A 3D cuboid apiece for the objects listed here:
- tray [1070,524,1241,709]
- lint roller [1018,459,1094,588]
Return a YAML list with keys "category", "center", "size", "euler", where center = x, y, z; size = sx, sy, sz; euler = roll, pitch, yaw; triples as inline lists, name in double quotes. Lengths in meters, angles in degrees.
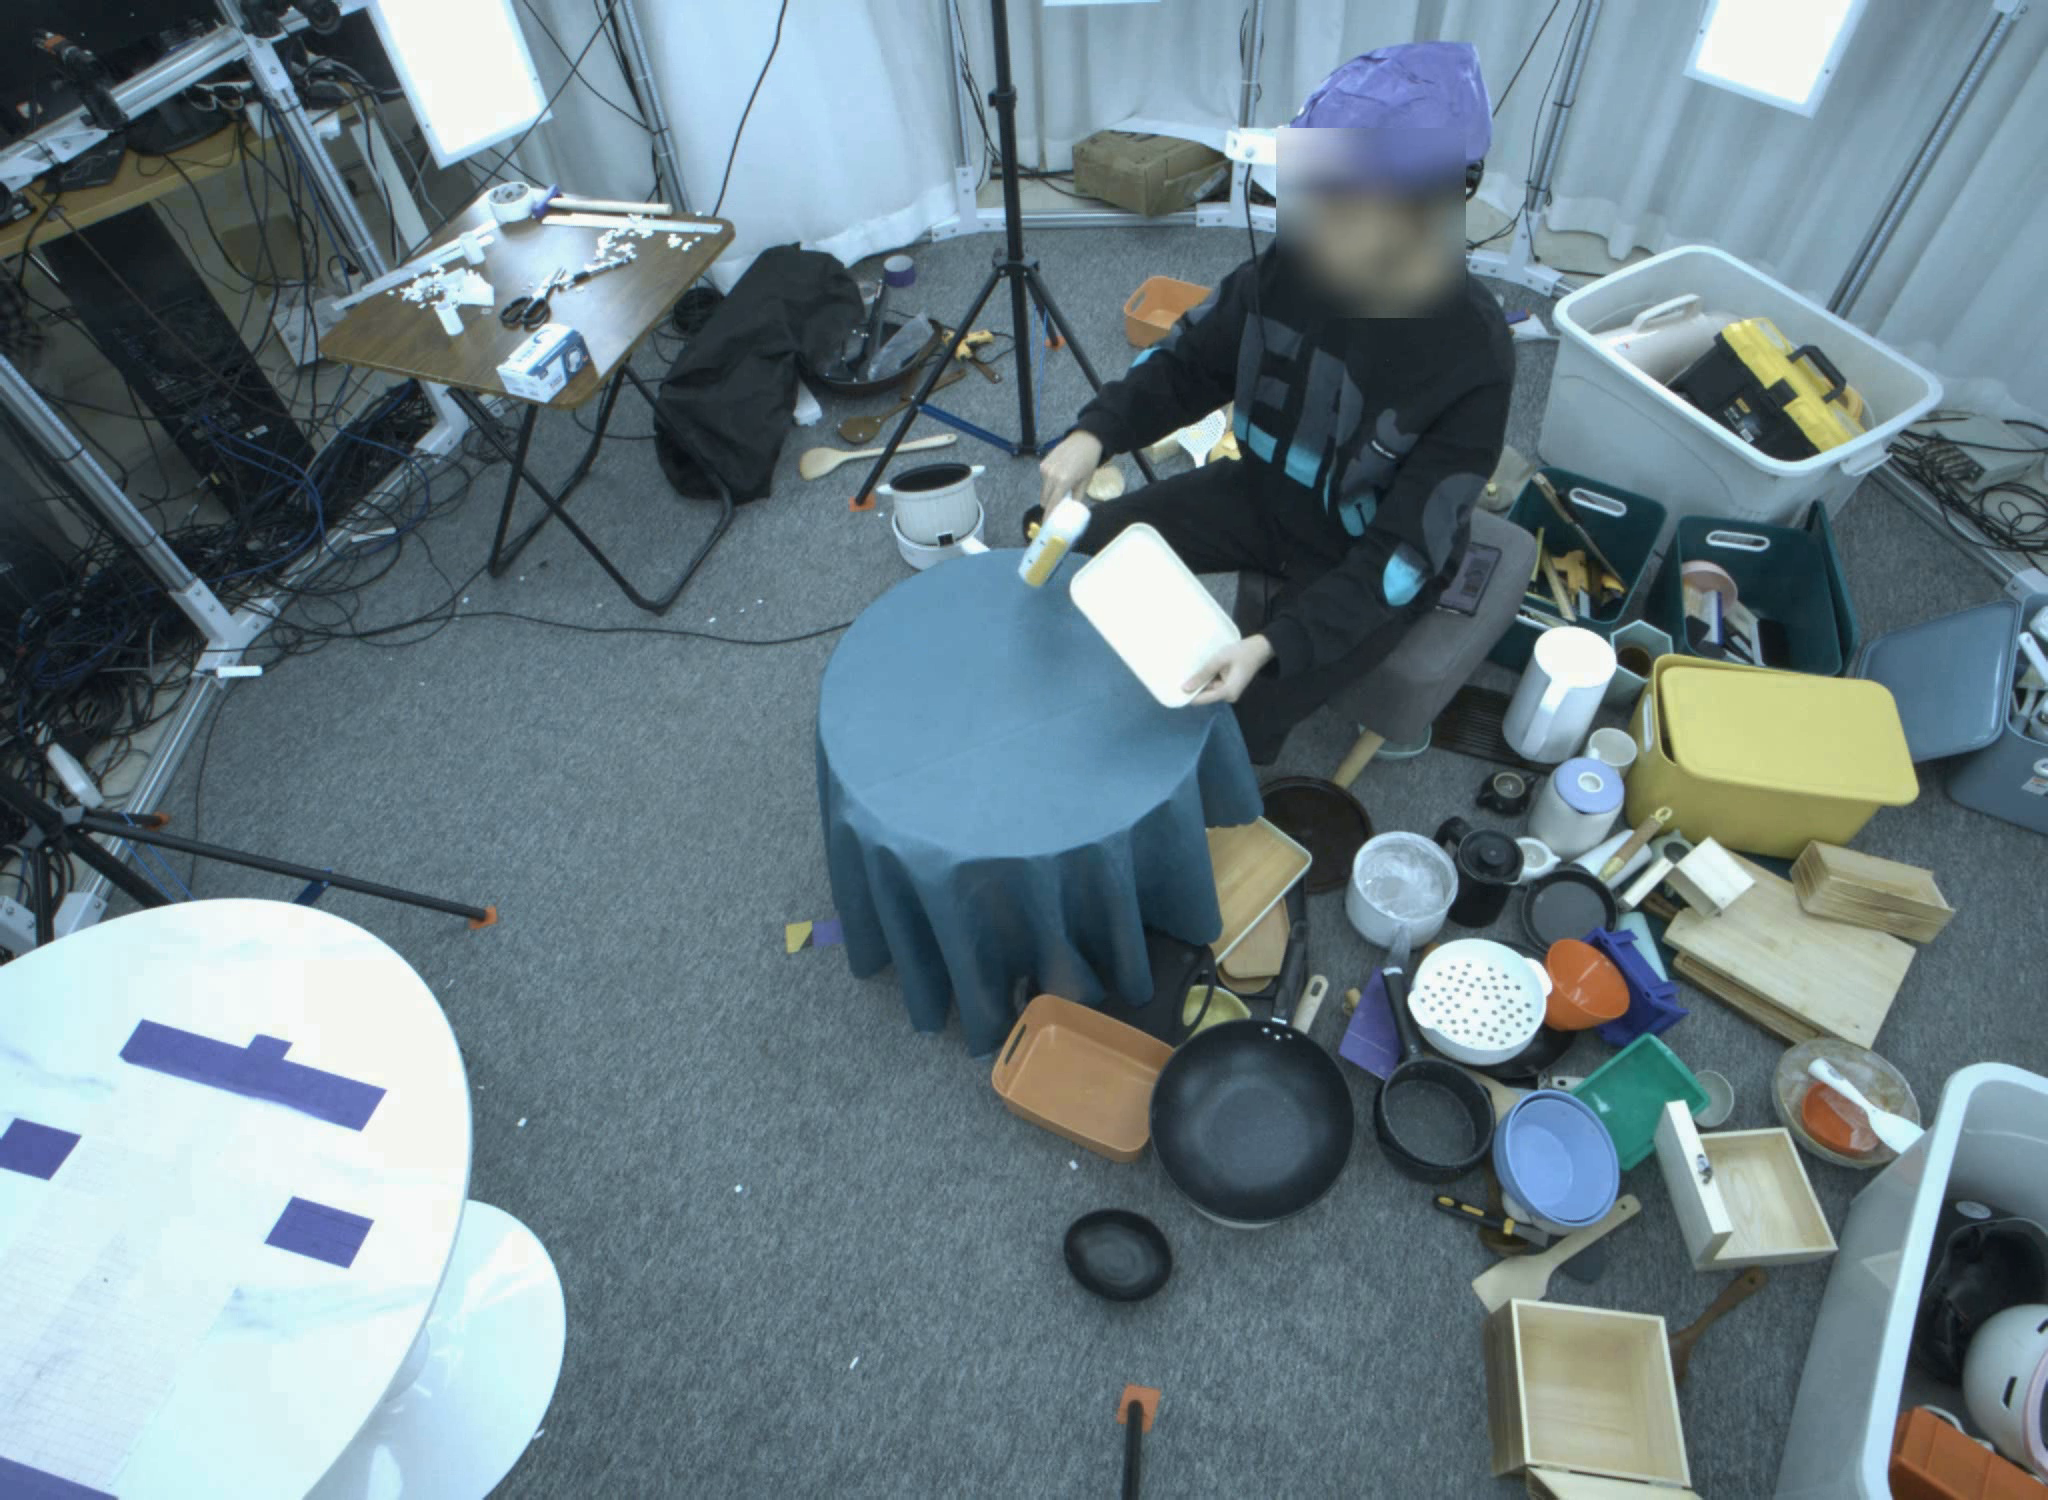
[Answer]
- category: "tray"
  center: [0.185, -0.187, 1.727]
  size: [0.172, 0.017, 0.241]
  euler: [-44, 99, -21]
- category: "lint roller"
  center: [0.056, -0.363, 1.872]
  size: [0.075, 0.192, 0.192]
  euler: [23, 60, -7]
